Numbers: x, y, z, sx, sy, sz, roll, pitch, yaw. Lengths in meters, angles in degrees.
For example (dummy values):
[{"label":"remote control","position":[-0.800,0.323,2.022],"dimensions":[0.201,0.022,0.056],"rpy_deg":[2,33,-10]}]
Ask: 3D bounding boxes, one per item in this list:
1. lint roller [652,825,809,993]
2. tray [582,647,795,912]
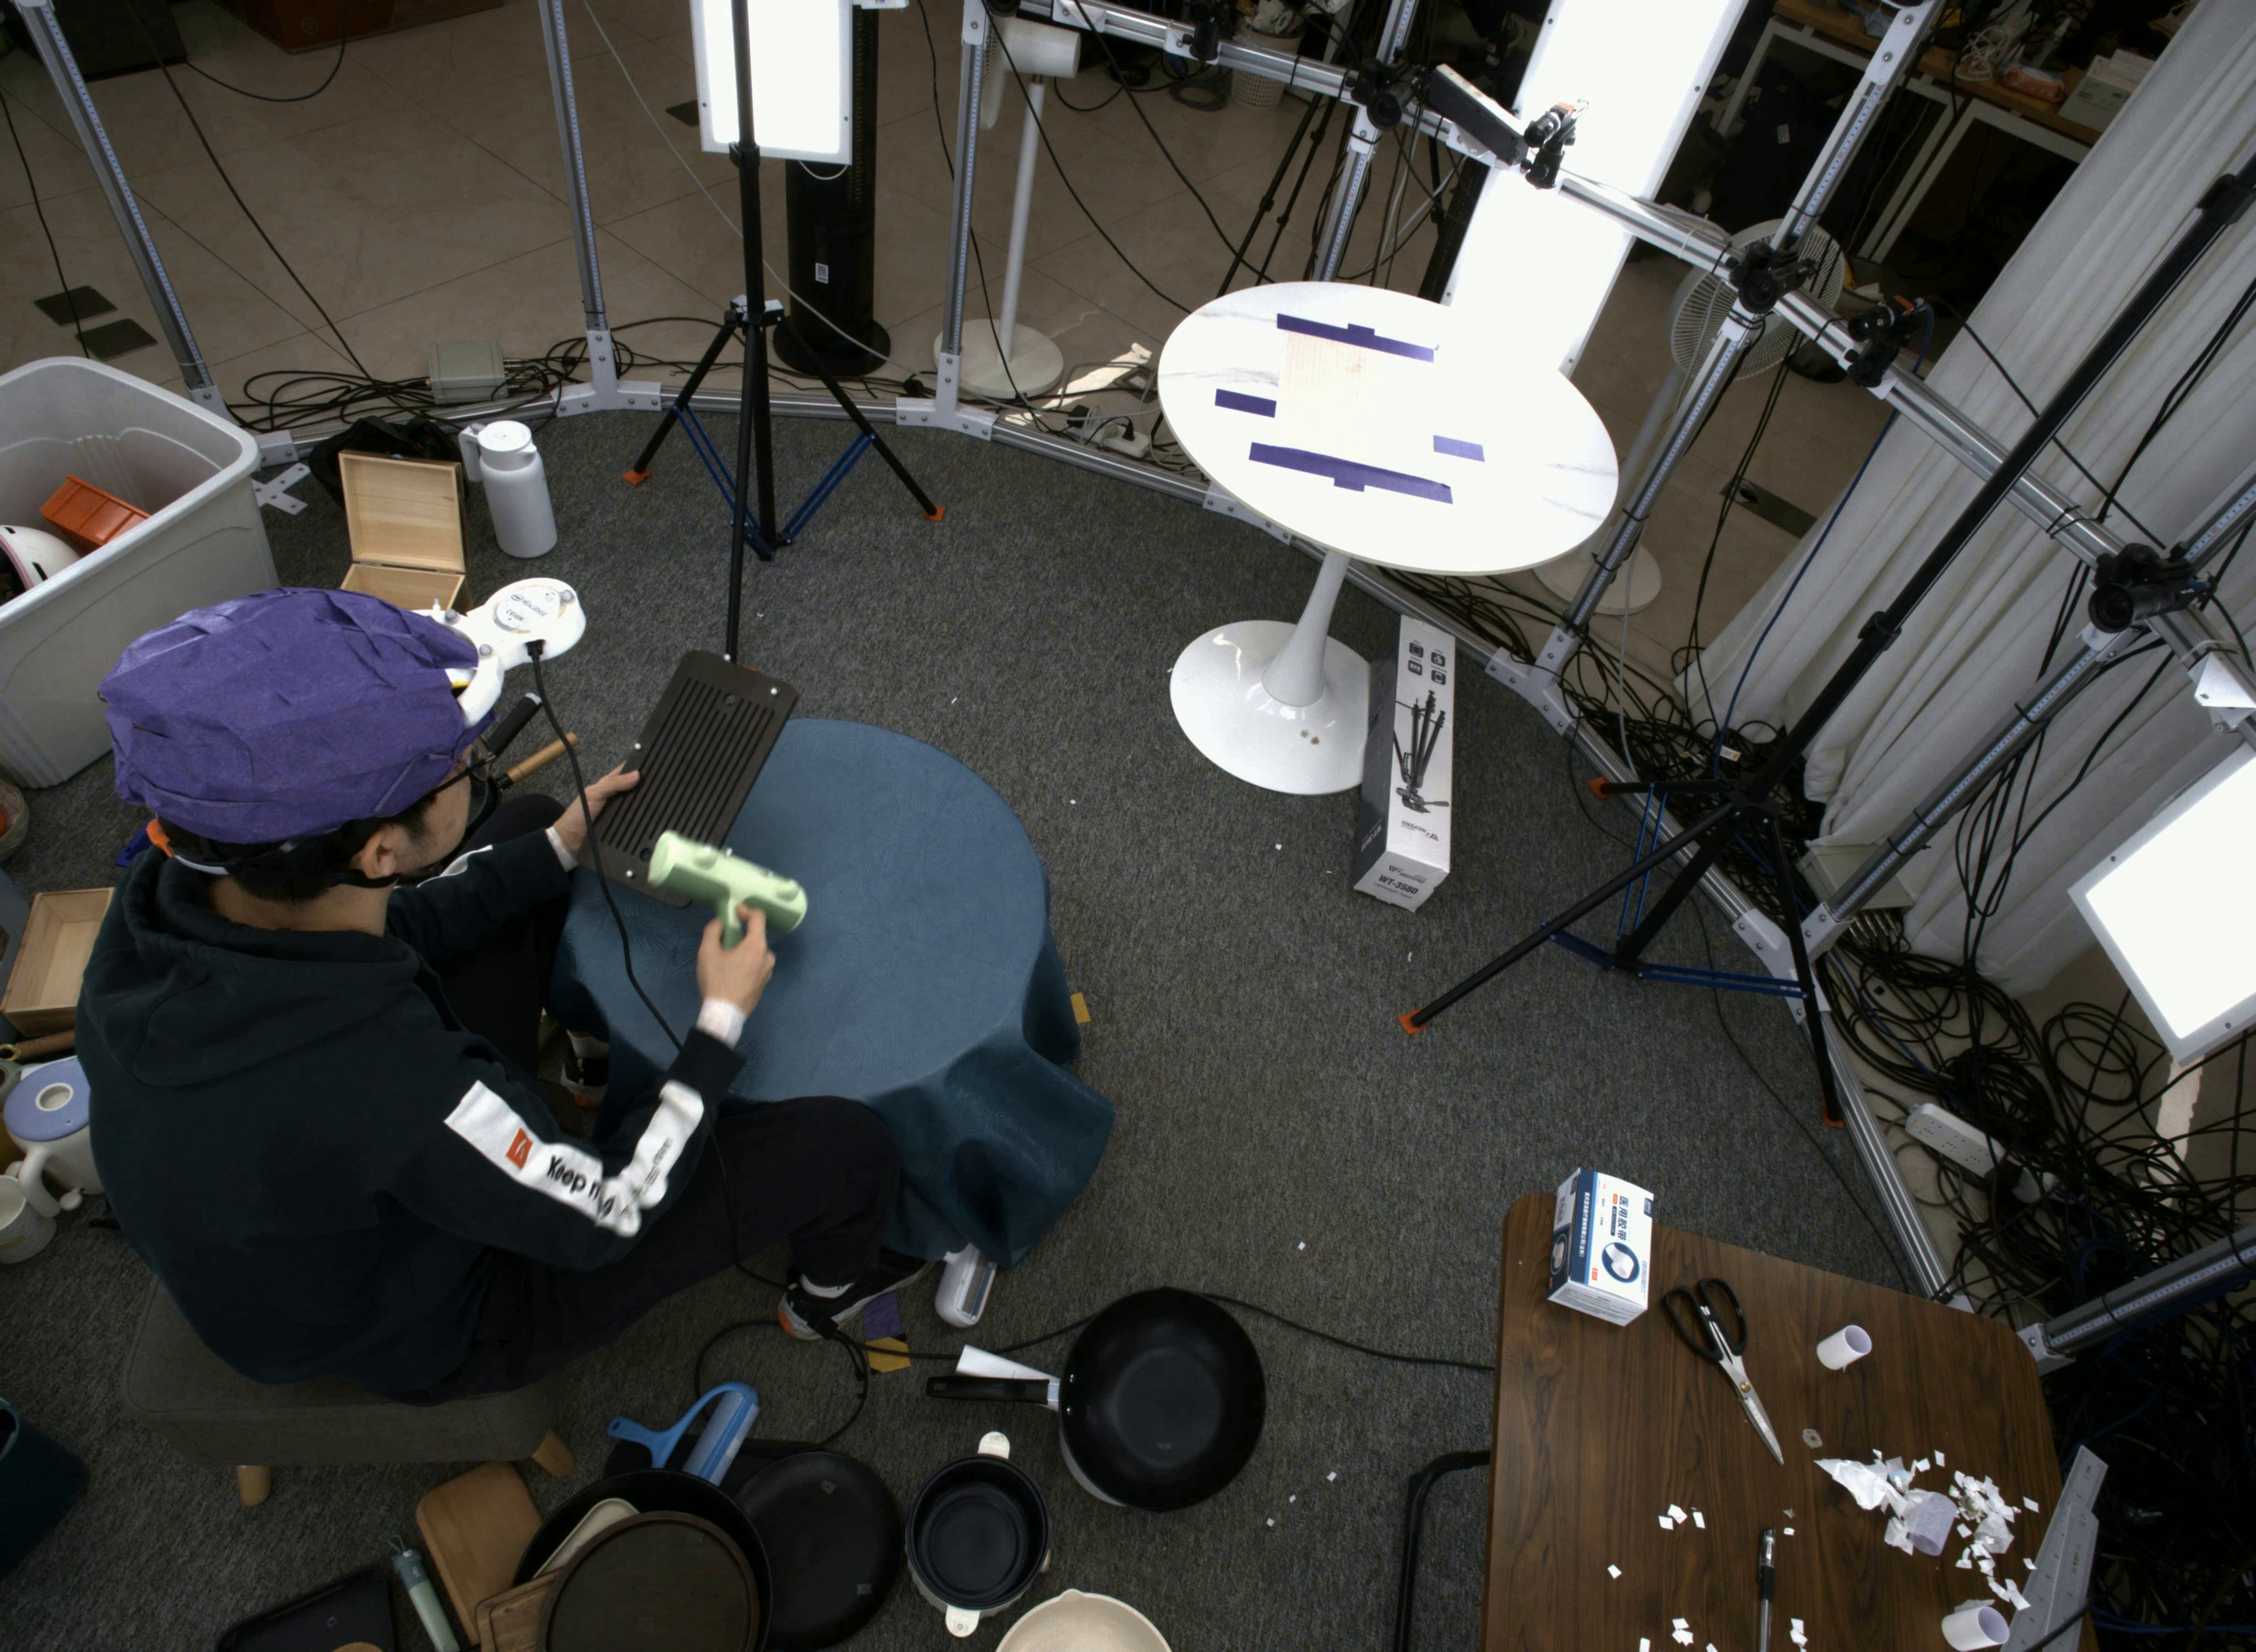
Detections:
[{"label":"lint roller","position":[-0.450,0.099,1.496],"dimensions":[0.205,0.082,0.178],"rpy_deg":[31,29,-44]},{"label":"tray","position":[-0.540,-0.062,1.576],"dimensions":[0.166,0.019,0.306],"rpy_deg":[22,78,11]}]
